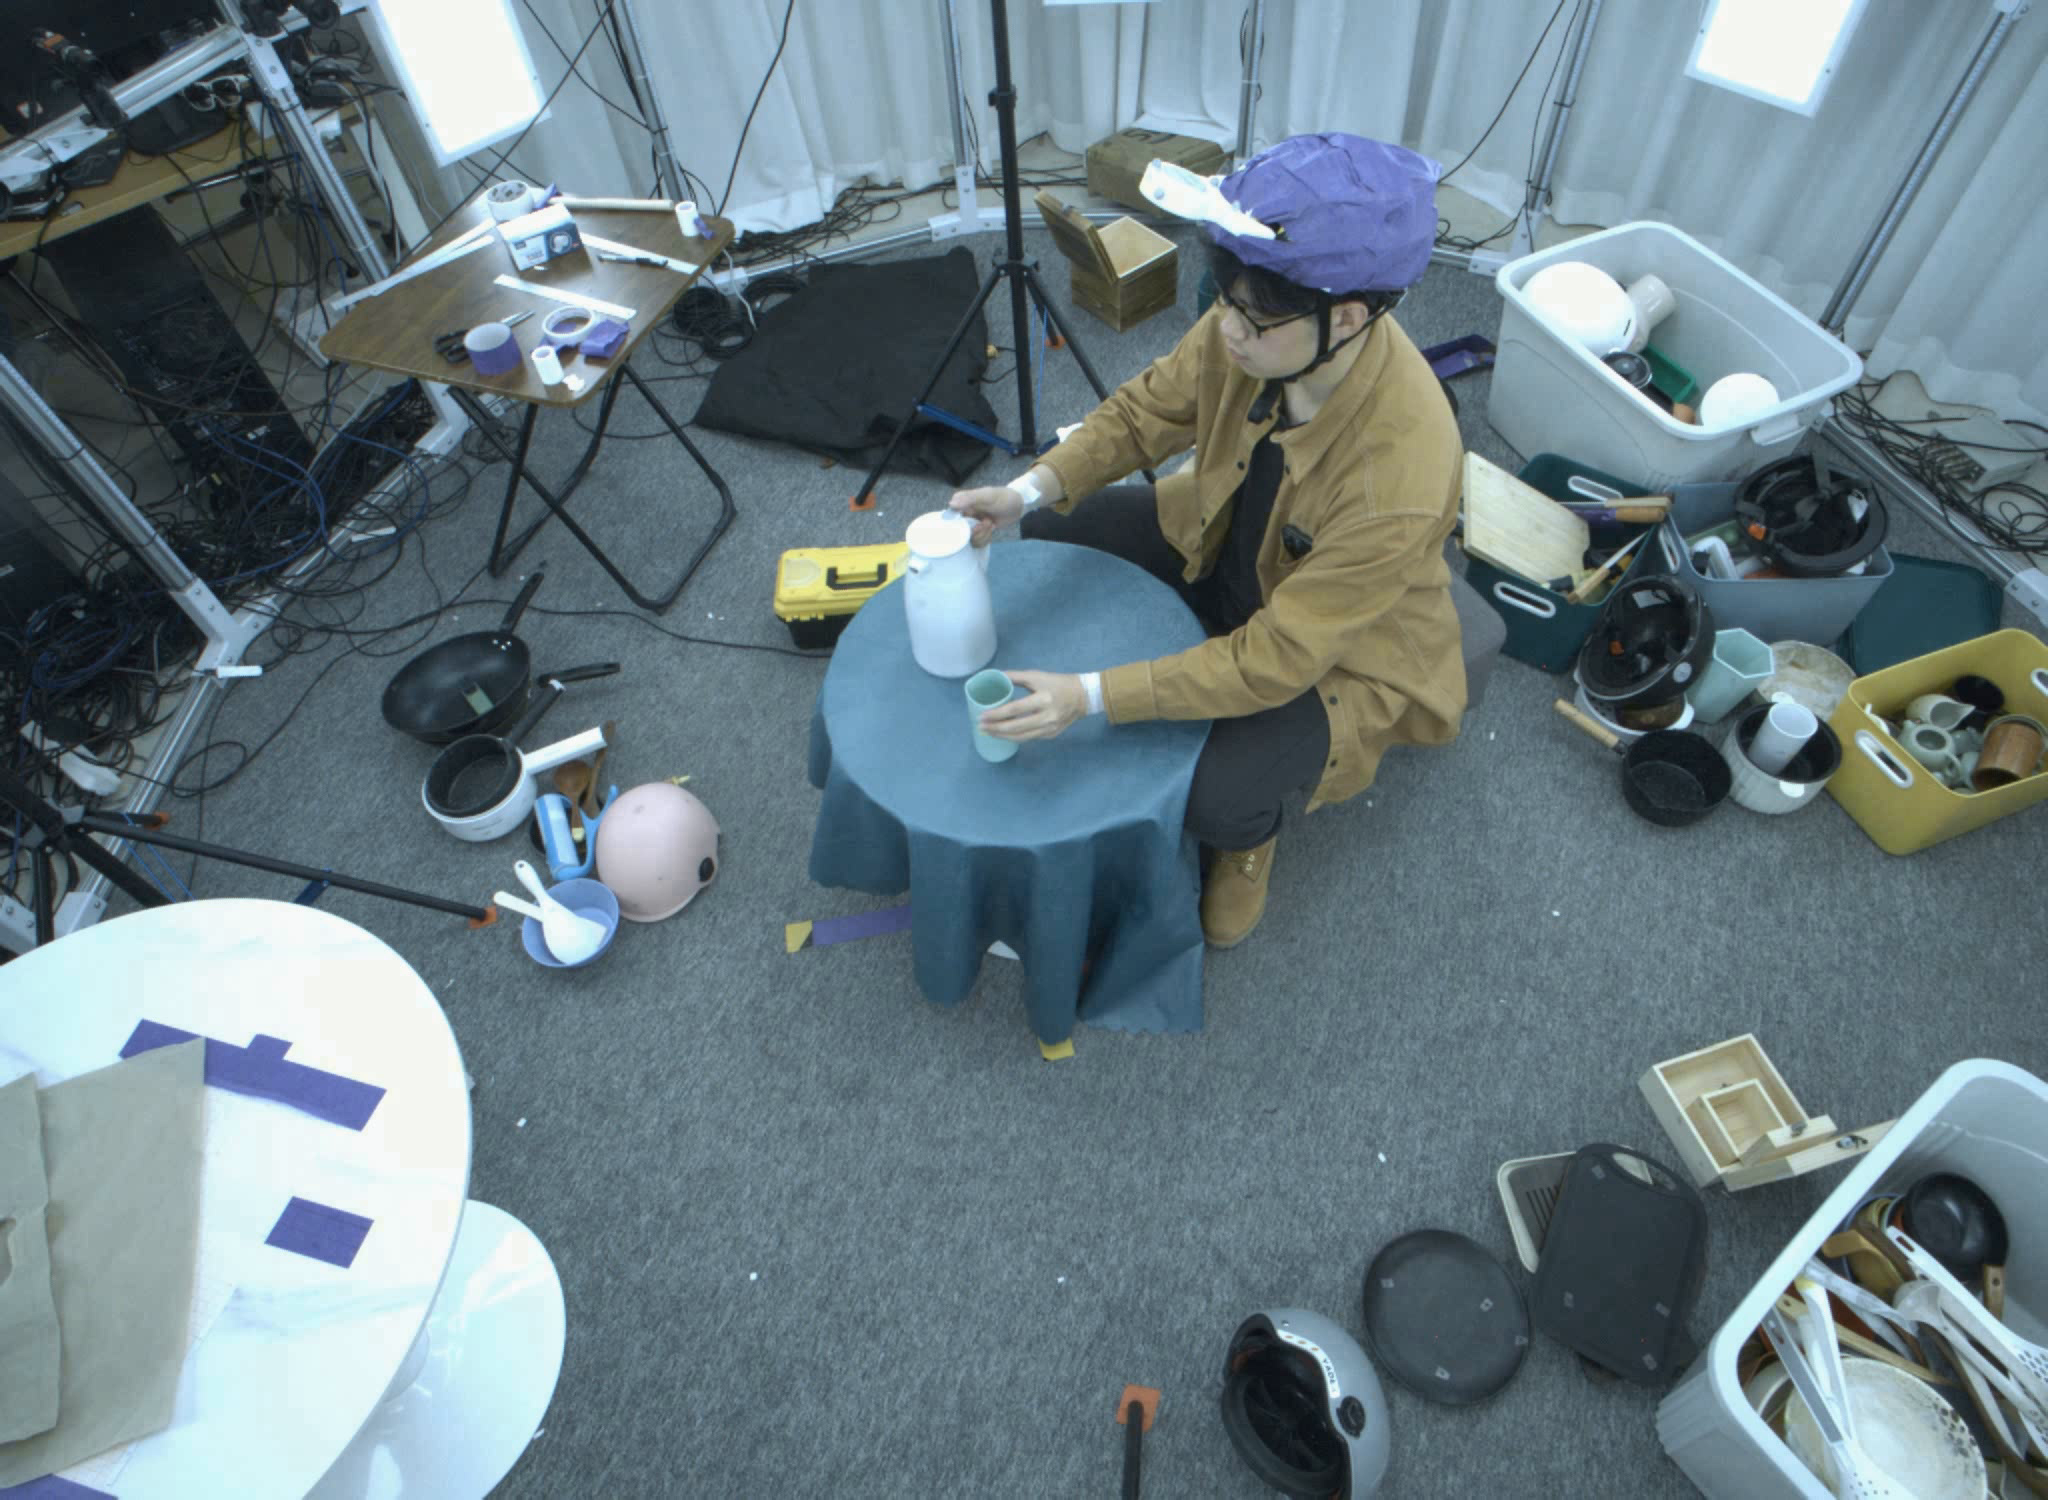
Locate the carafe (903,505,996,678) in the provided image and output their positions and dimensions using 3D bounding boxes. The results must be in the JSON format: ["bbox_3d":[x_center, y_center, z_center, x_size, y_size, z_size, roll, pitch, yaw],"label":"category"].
[{"bbox_3d":[-0.107,-0.248,1.811,0.130,0.251,0.168,25,59,20],"label":"carafe"}]

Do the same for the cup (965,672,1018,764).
[{"bbox_3d":[-0.044,-0.044,1.739,0.066,0.134,0.066,-1,54,3],"label":"cup"}]
